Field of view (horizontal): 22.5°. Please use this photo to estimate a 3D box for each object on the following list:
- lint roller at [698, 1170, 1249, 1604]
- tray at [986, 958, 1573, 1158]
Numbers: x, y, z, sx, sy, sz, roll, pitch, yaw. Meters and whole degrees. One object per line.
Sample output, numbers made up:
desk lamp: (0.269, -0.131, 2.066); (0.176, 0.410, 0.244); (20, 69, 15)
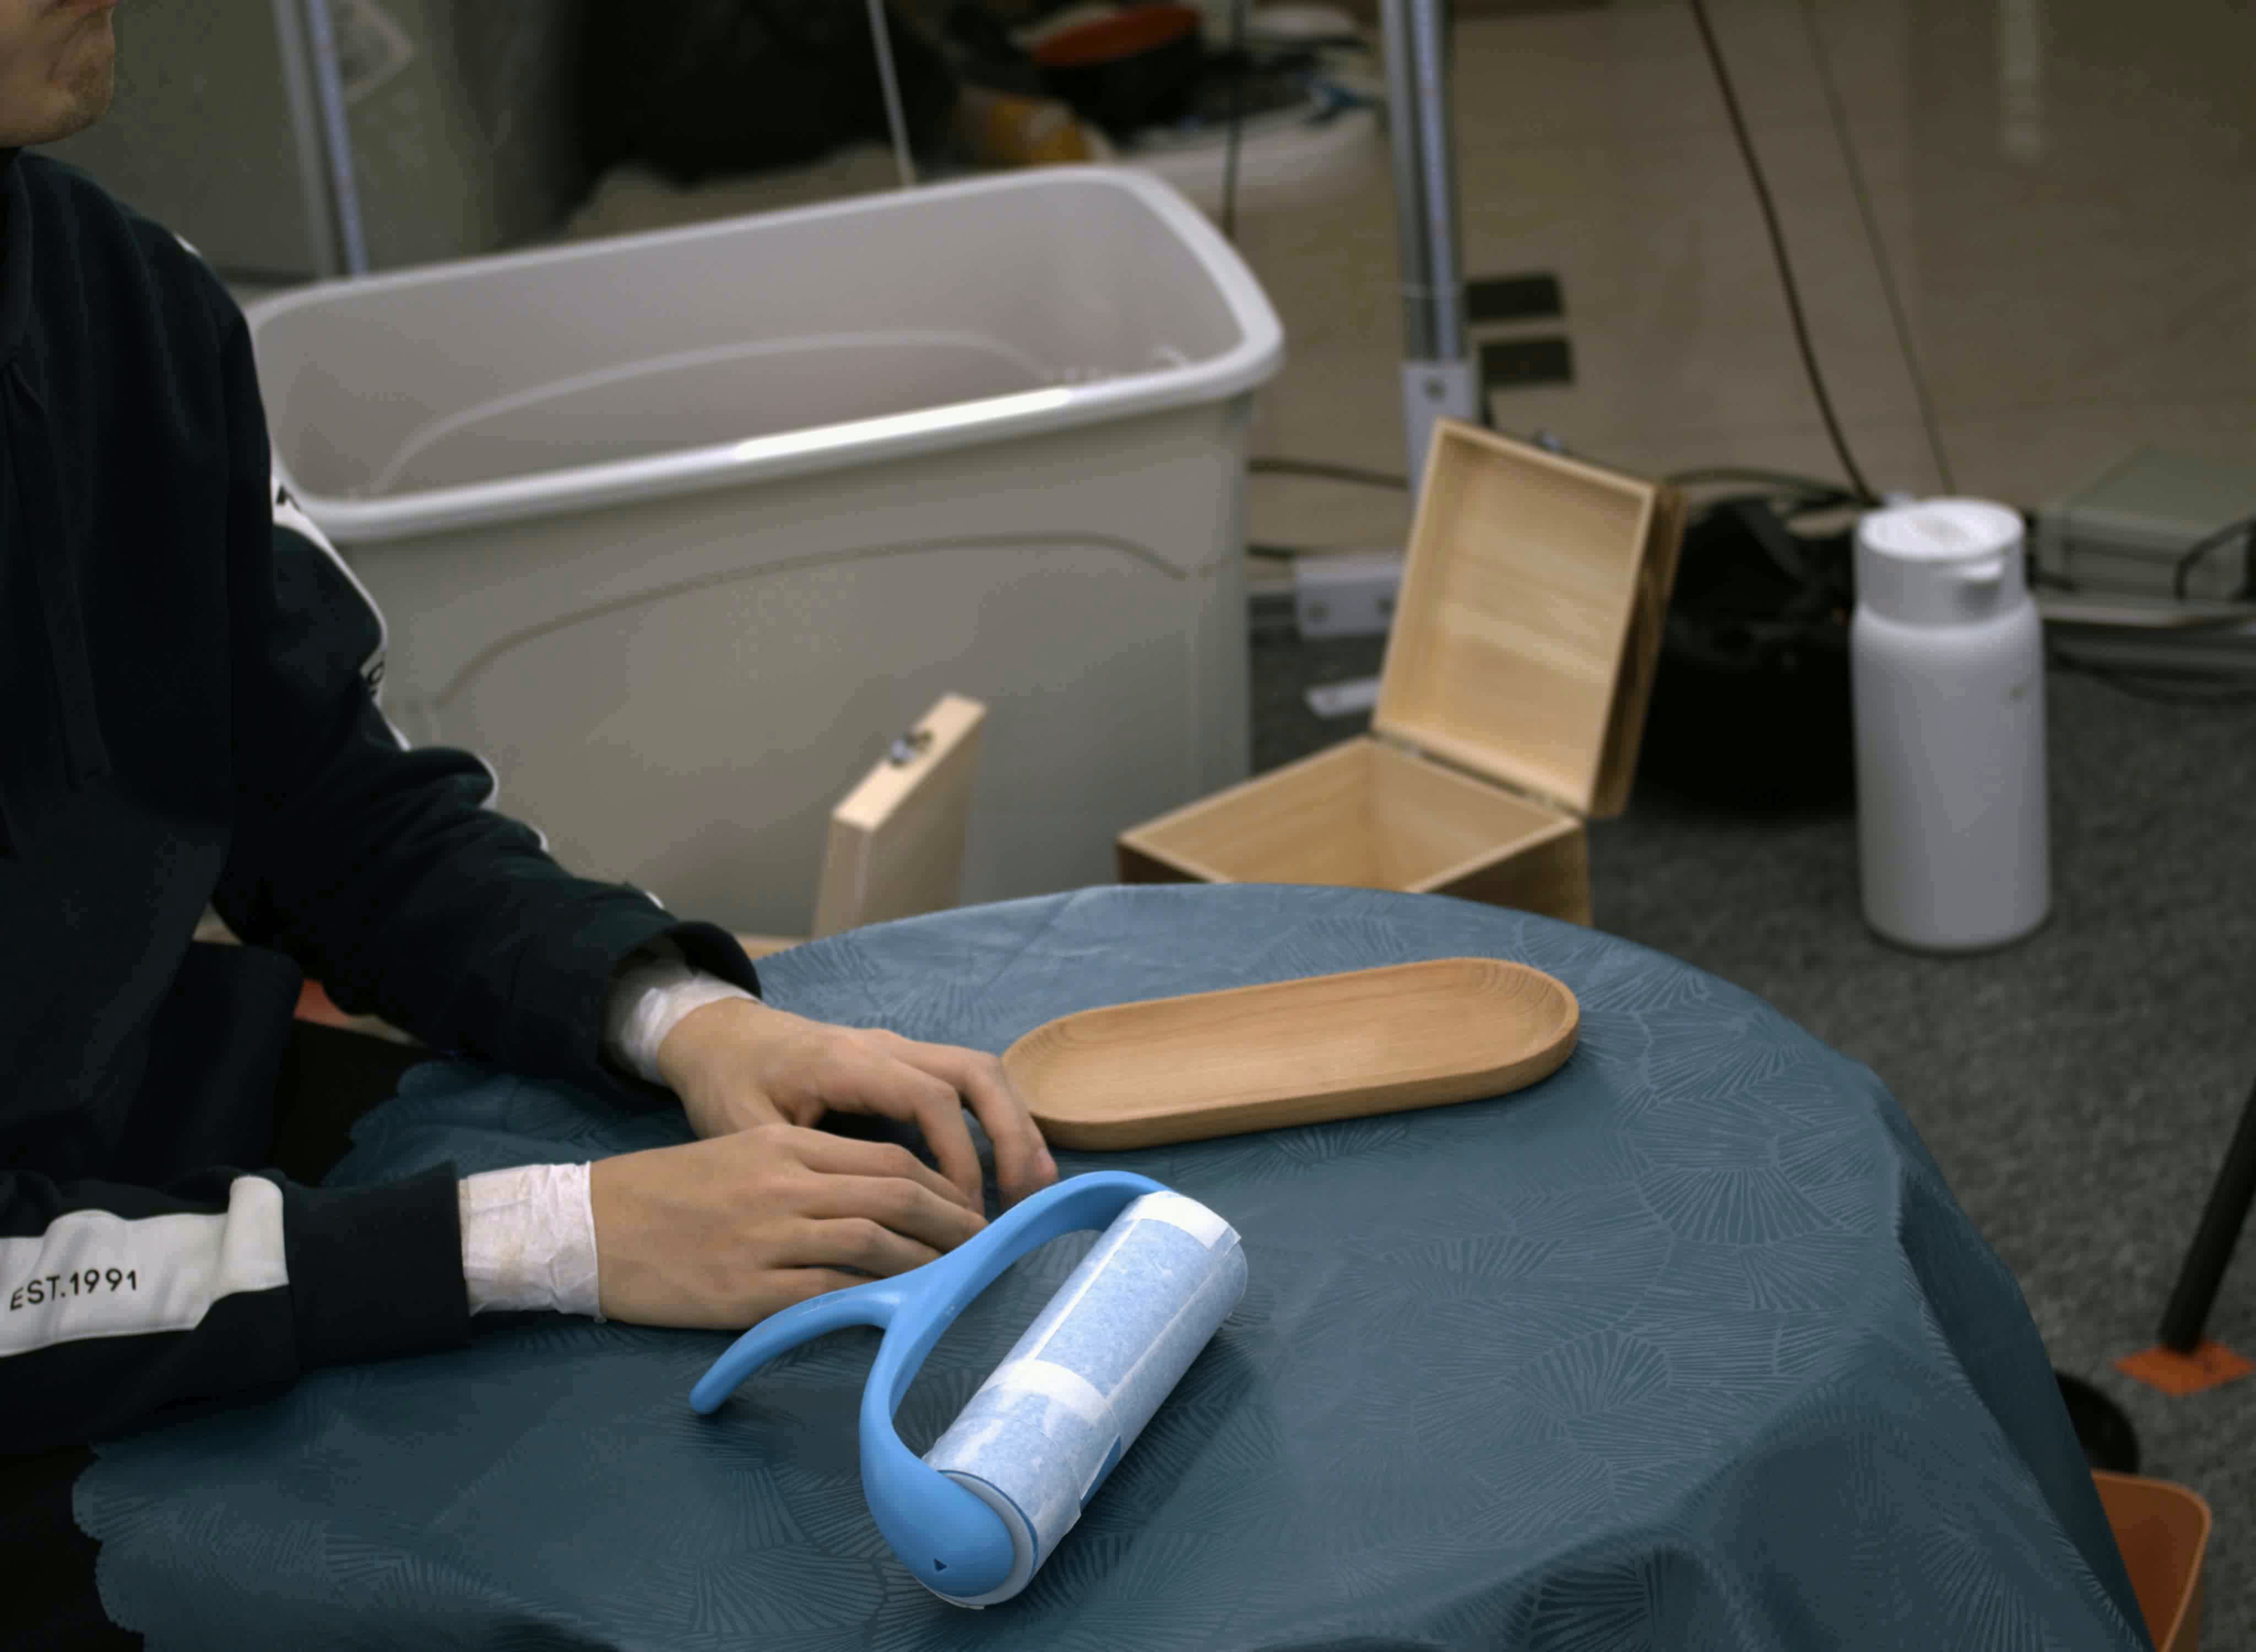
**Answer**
lint roller: (-0.072, 0.190, 1.983); (0.180, 0.069, 0.226); (5, 29, 20)
tray: (0.060, 0.091, 2.213); (0.231, 0.020, 0.100); (-10, 24, -3)
